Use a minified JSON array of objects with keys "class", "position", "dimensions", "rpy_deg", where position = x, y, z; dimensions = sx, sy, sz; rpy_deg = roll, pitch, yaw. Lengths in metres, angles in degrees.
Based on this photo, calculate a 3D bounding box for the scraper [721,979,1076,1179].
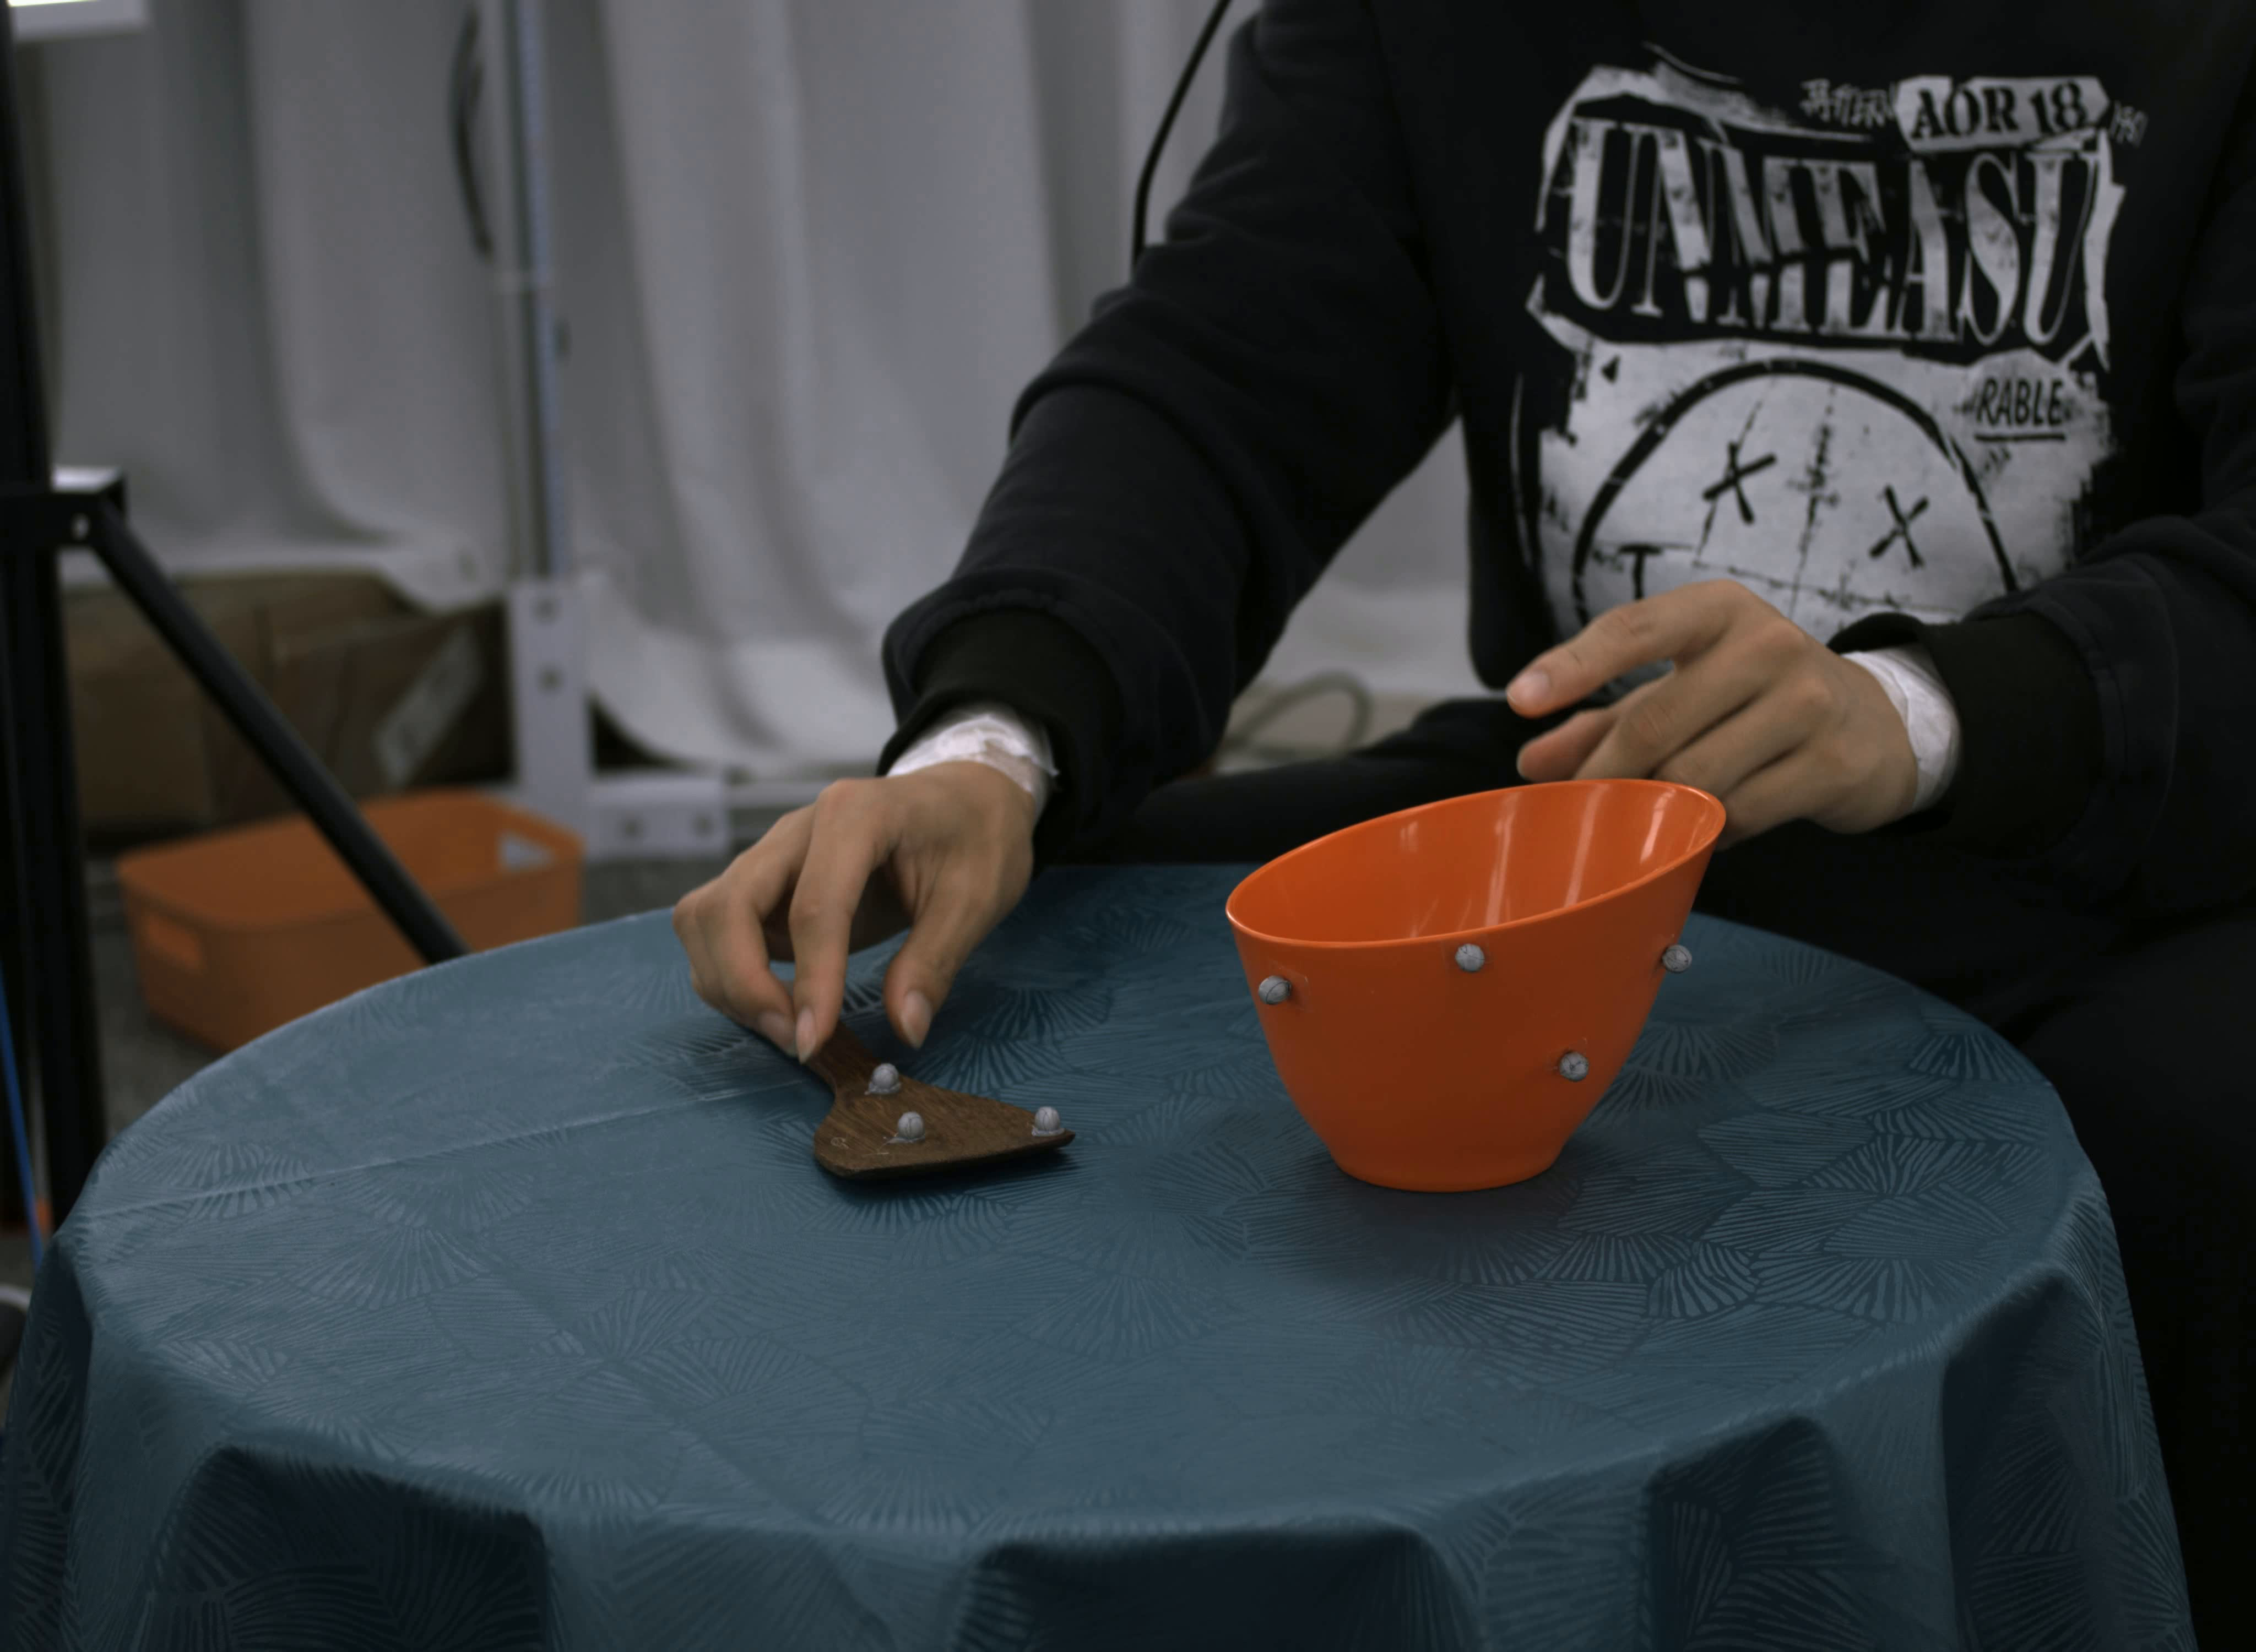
[{"class":"scraper","position":[-0.084,0.078,1.664],"dimensions":[0.074,0.011,0.215],"rpy_deg":[-8,16,-20]}]

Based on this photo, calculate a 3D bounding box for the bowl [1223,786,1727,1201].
[{"class":"bowl","position":[0.102,0.051,1.559],"dimensions":[0.147,0.104,0.149],"rpy_deg":[-3,15,-1]}]
